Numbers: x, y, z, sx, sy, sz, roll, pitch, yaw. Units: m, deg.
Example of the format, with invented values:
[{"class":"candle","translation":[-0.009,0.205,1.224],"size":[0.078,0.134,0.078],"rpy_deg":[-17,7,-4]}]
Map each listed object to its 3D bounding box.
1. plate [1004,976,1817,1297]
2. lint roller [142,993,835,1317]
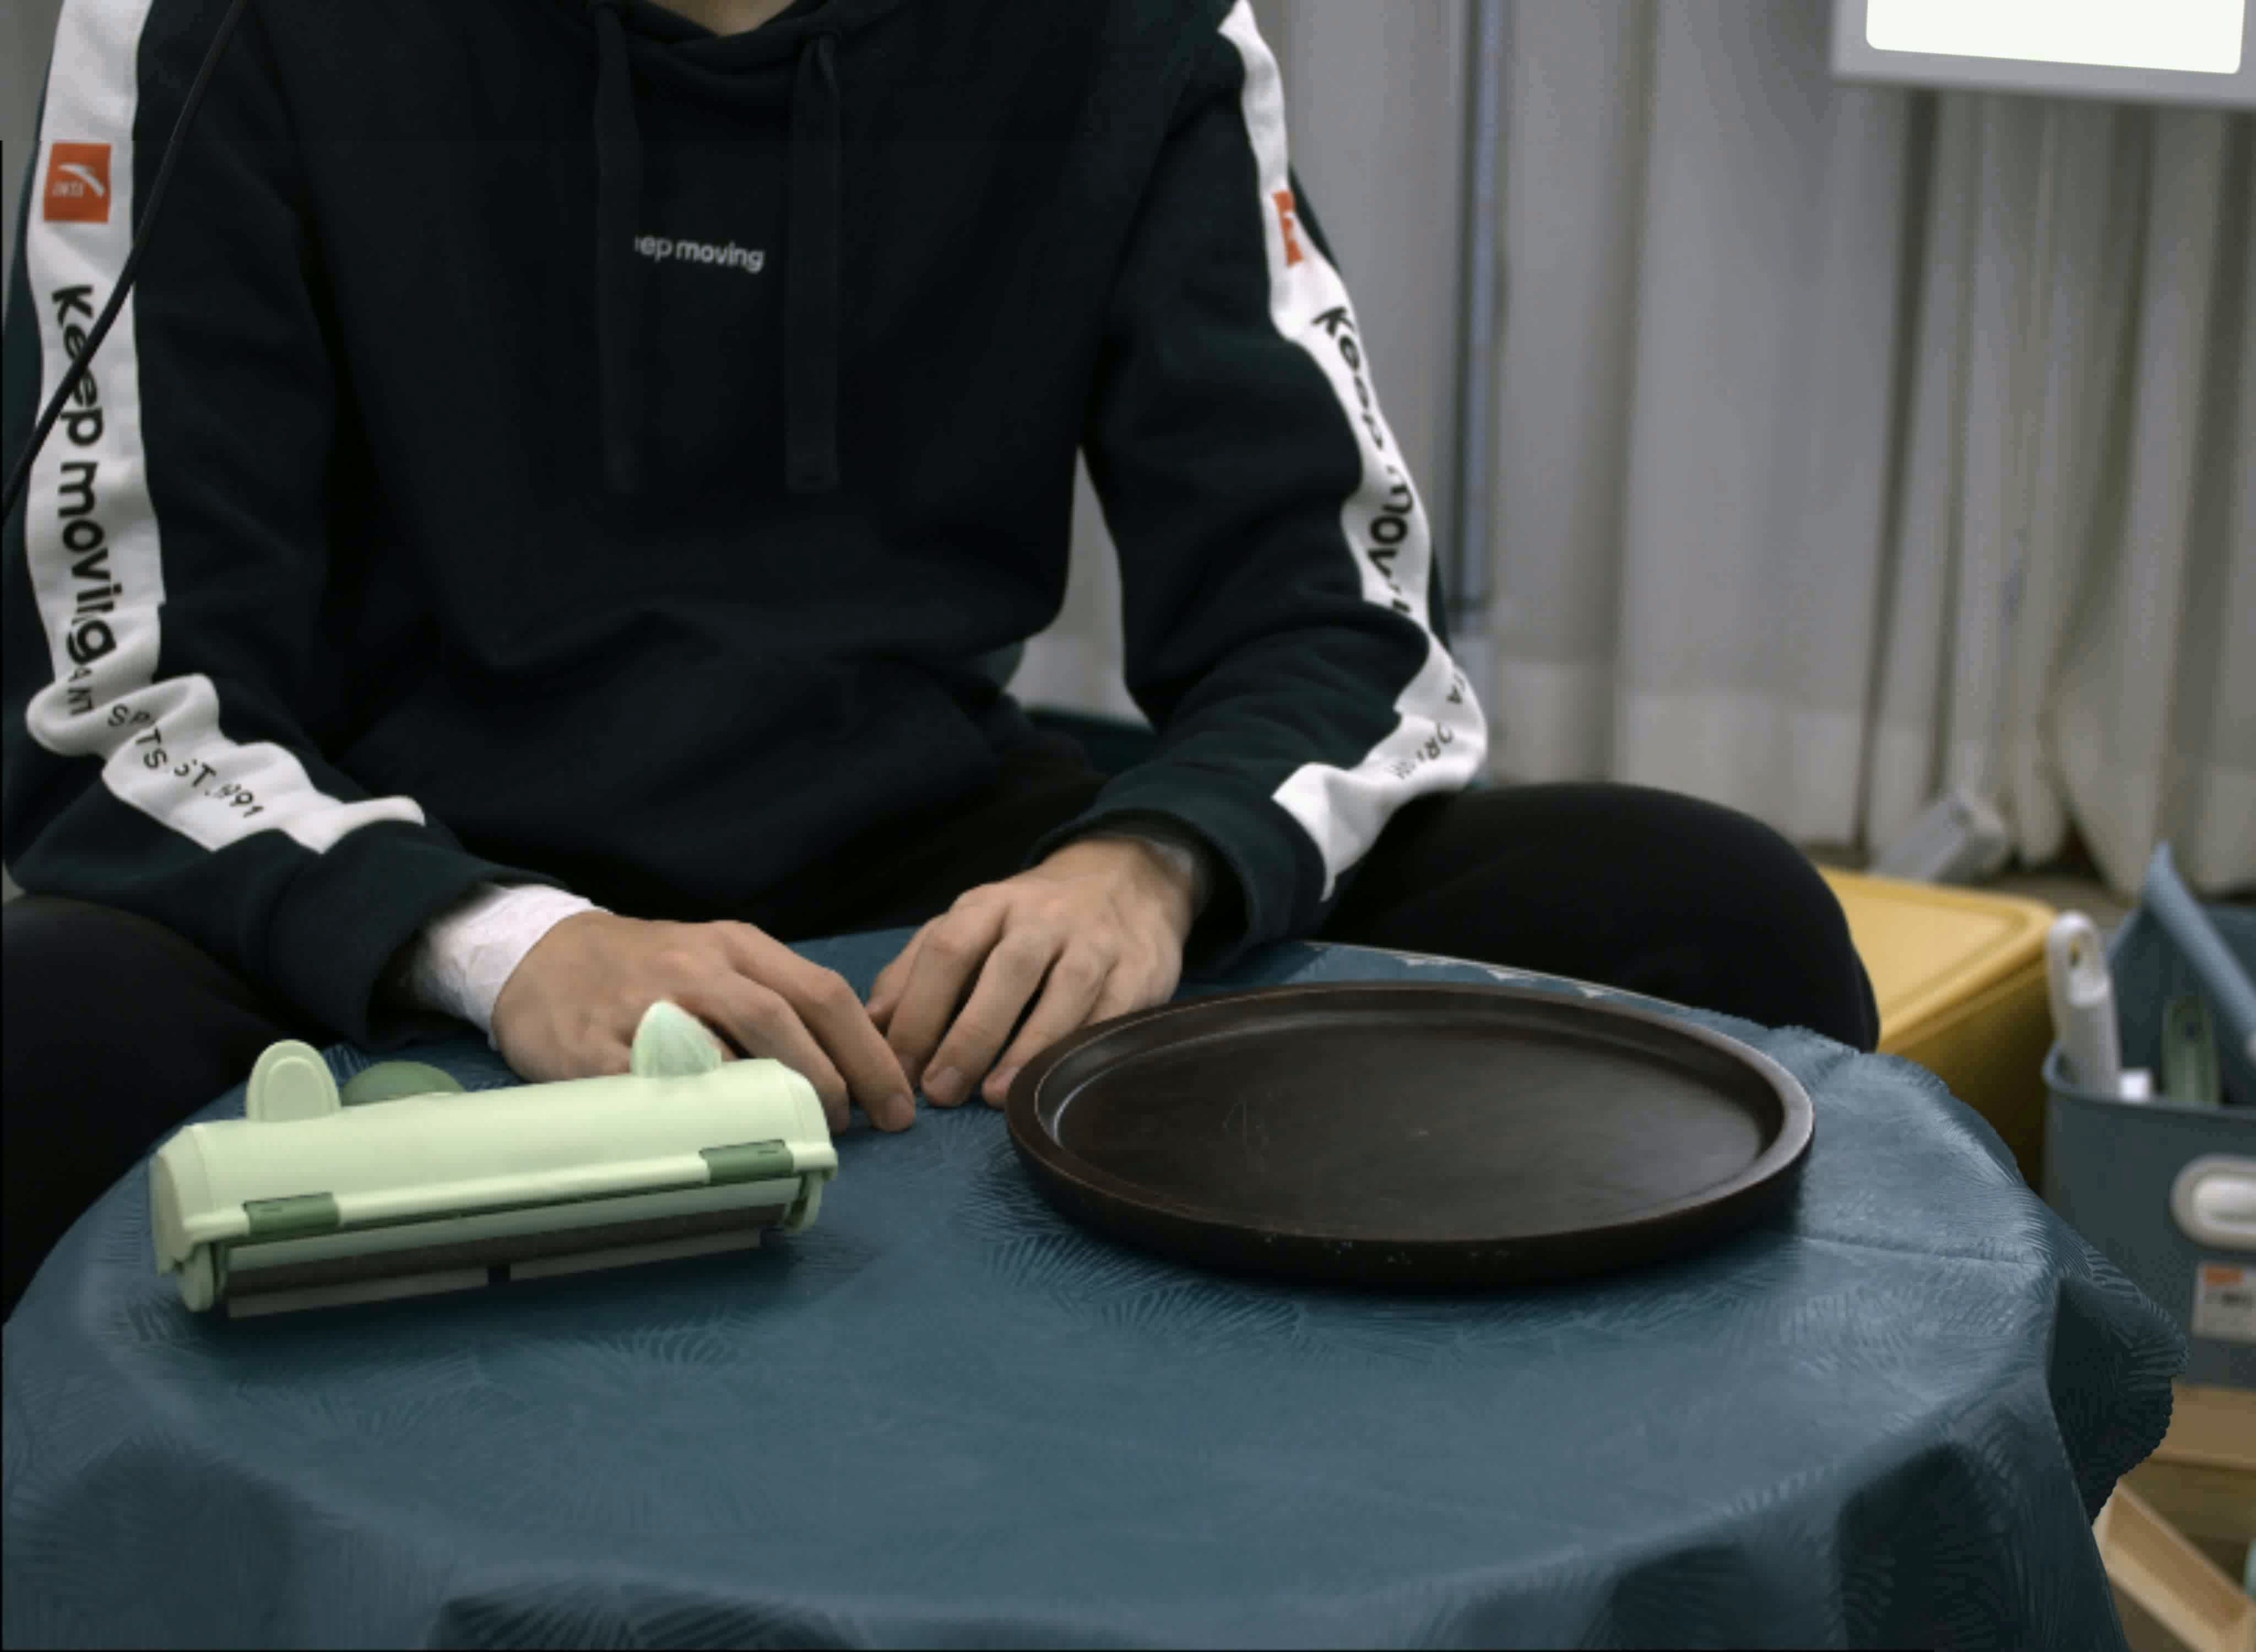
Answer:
[{"class":"plate","translation":[0.087,0.095,1.639],"size":[0.254,0.029,0.253],"rpy_deg":[0,17,1]},{"class":"lint roller","translation":[-0.206,0.080,1.577],"size":[0.199,0.083,0.181],"rpy_deg":[-6,20,-21]}]
